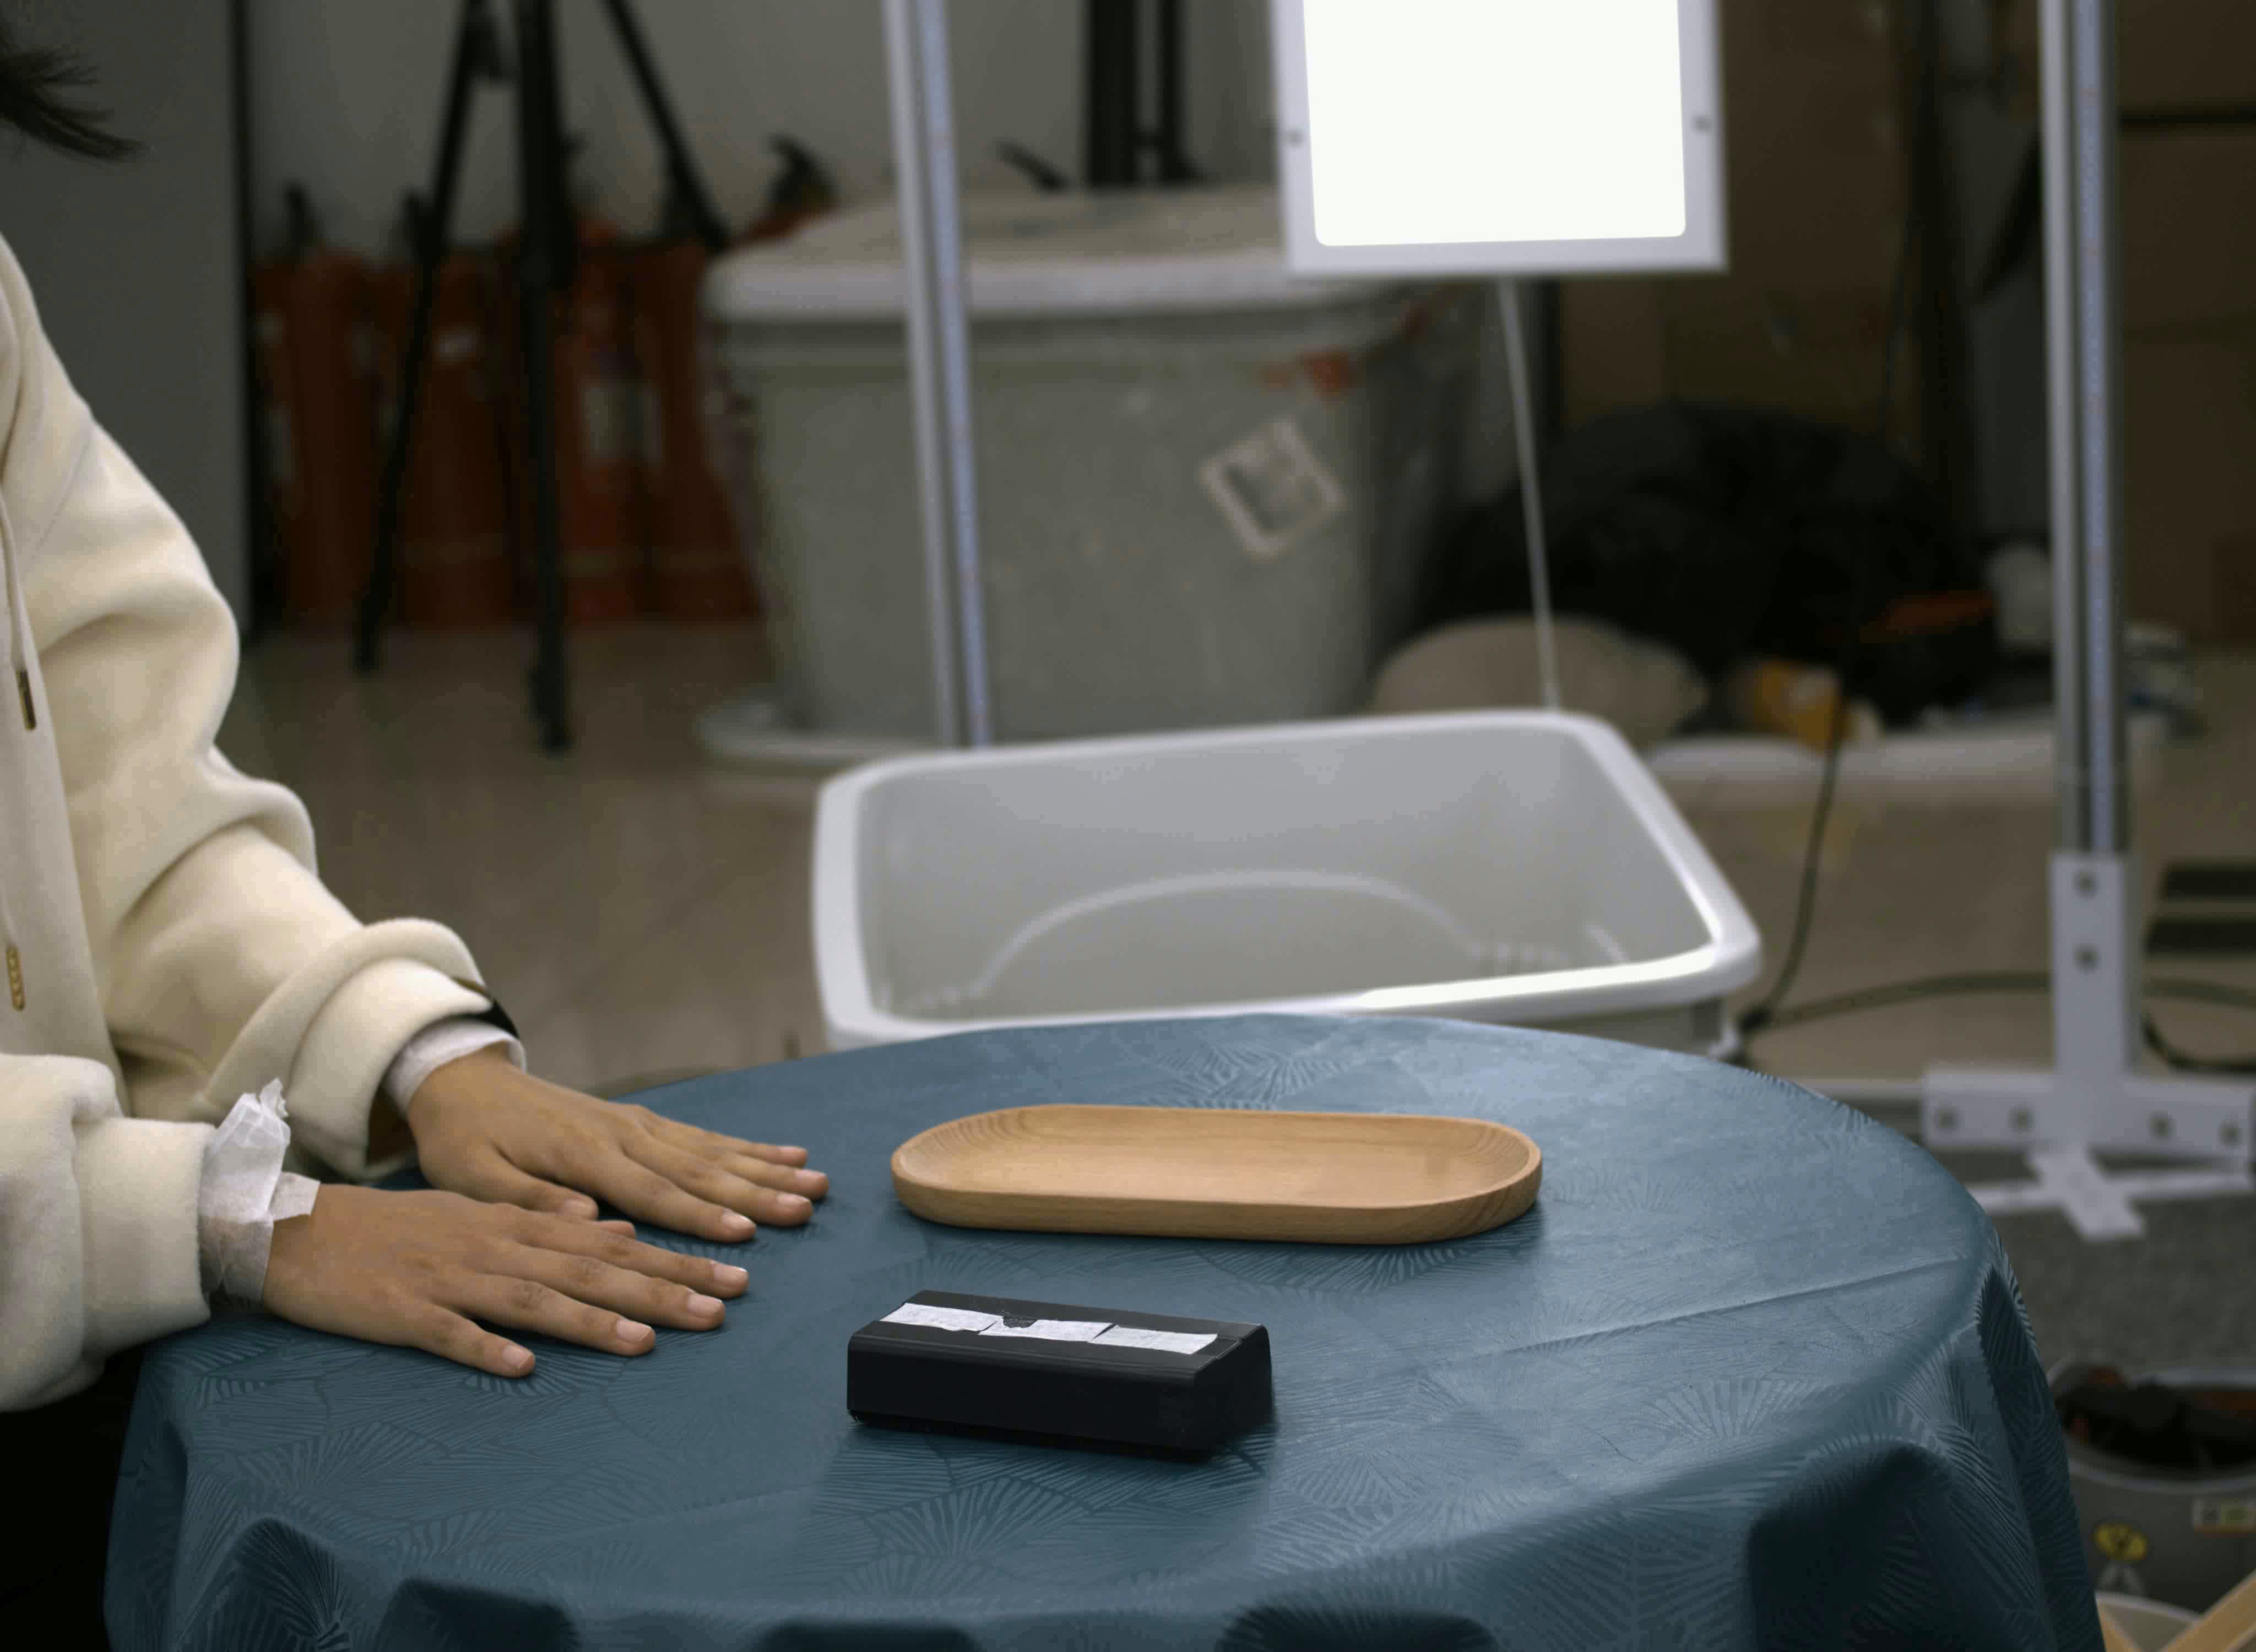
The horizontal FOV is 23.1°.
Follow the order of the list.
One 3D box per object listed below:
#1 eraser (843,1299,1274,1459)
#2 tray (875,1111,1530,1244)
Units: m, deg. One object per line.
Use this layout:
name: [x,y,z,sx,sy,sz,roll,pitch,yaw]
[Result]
eraser: [-0.020,0.167,1.676,0.128,0.030,0.052,4,10,29]
tray: [0.025,0.120,1.882,0.234,0.020,0.100,-2,14,21]
